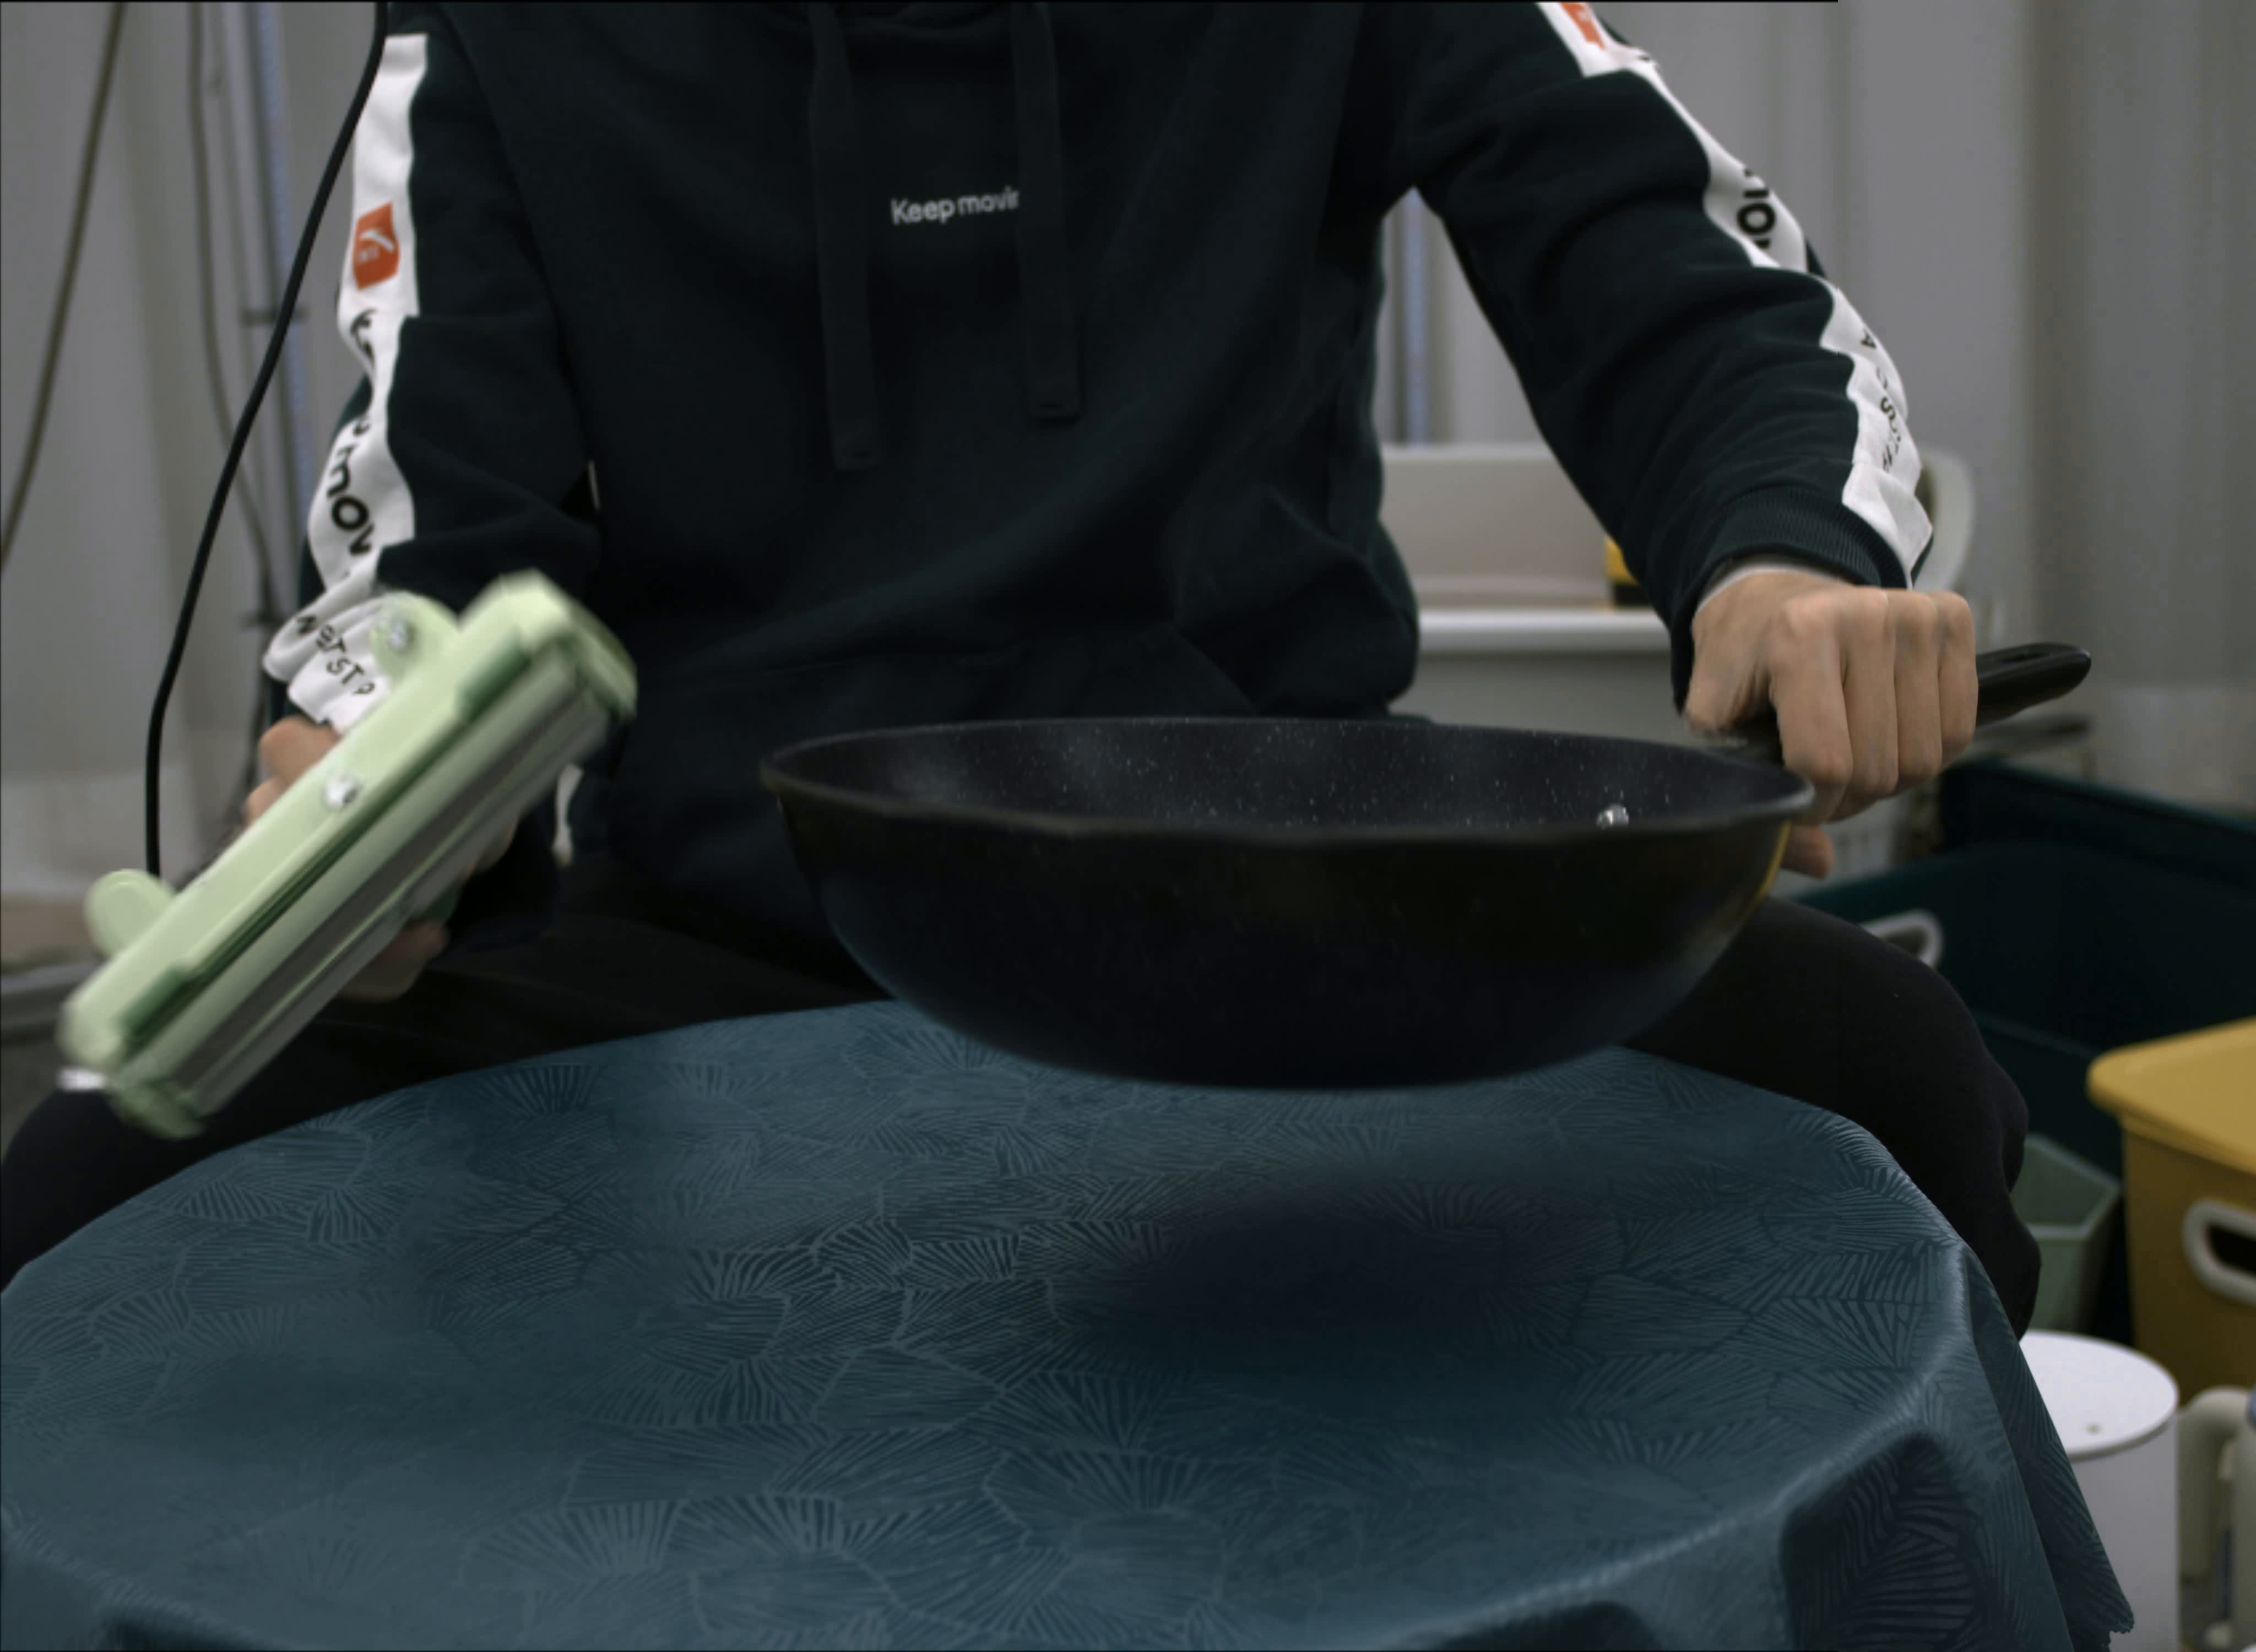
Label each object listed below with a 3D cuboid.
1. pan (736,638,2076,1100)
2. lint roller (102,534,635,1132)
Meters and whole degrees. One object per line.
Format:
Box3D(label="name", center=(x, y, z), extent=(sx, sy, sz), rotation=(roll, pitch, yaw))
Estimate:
Box3D(label="pan", center=(0.107, 0.008, 1.644), extent=(0.474, 0.111, 0.312), rotation=(-4, 9, -36))
Box3D(label="lint roller", center=(-0.237, -0.002, 1.673), extent=(0.082, 0.199, 0.183), rotation=(40, -6, -6))
